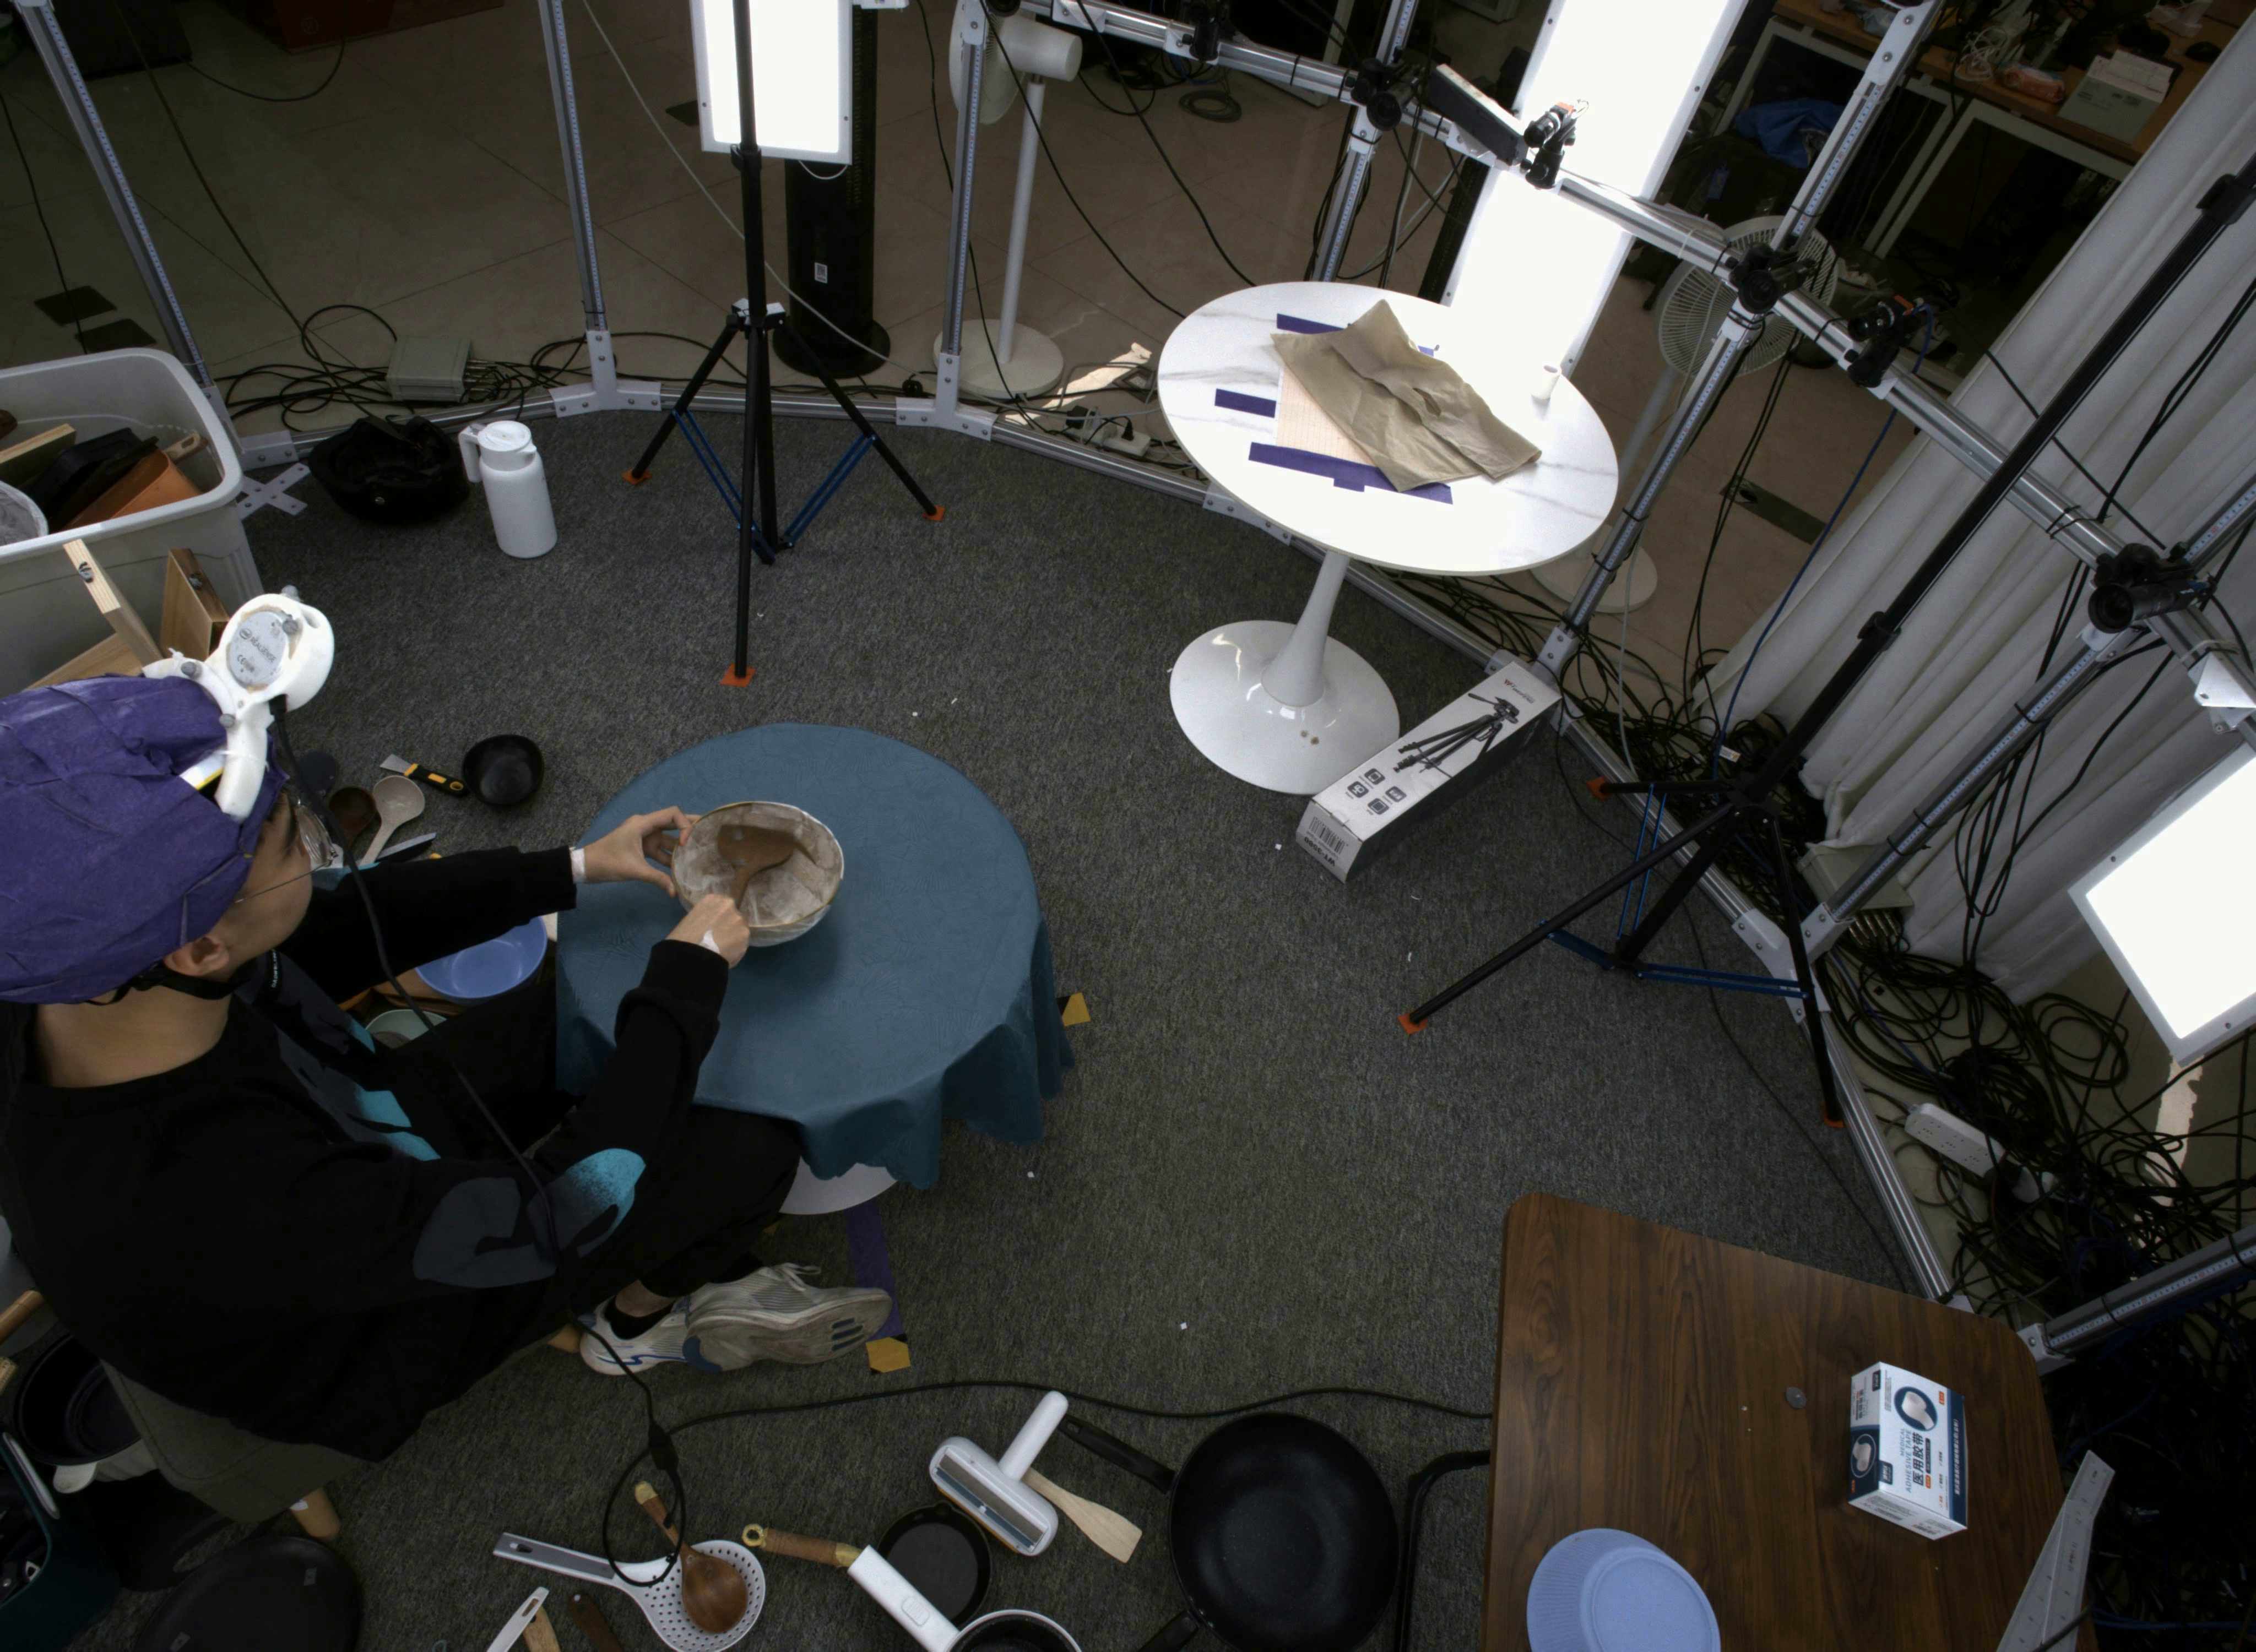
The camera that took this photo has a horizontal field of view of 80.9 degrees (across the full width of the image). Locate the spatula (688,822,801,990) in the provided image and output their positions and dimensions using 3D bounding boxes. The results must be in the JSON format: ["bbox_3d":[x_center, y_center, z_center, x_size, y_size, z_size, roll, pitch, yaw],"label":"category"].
[{"bbox_3d":[-0.443,0.079,1.460,0.096,0.016,0.377,12,22,-10],"label":"spatula"}]

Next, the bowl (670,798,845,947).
[{"bbox_3d":[-0.454,0.071,1.579,0.215,0.096,0.210,11,48,-11],"label":"bowl"}]
